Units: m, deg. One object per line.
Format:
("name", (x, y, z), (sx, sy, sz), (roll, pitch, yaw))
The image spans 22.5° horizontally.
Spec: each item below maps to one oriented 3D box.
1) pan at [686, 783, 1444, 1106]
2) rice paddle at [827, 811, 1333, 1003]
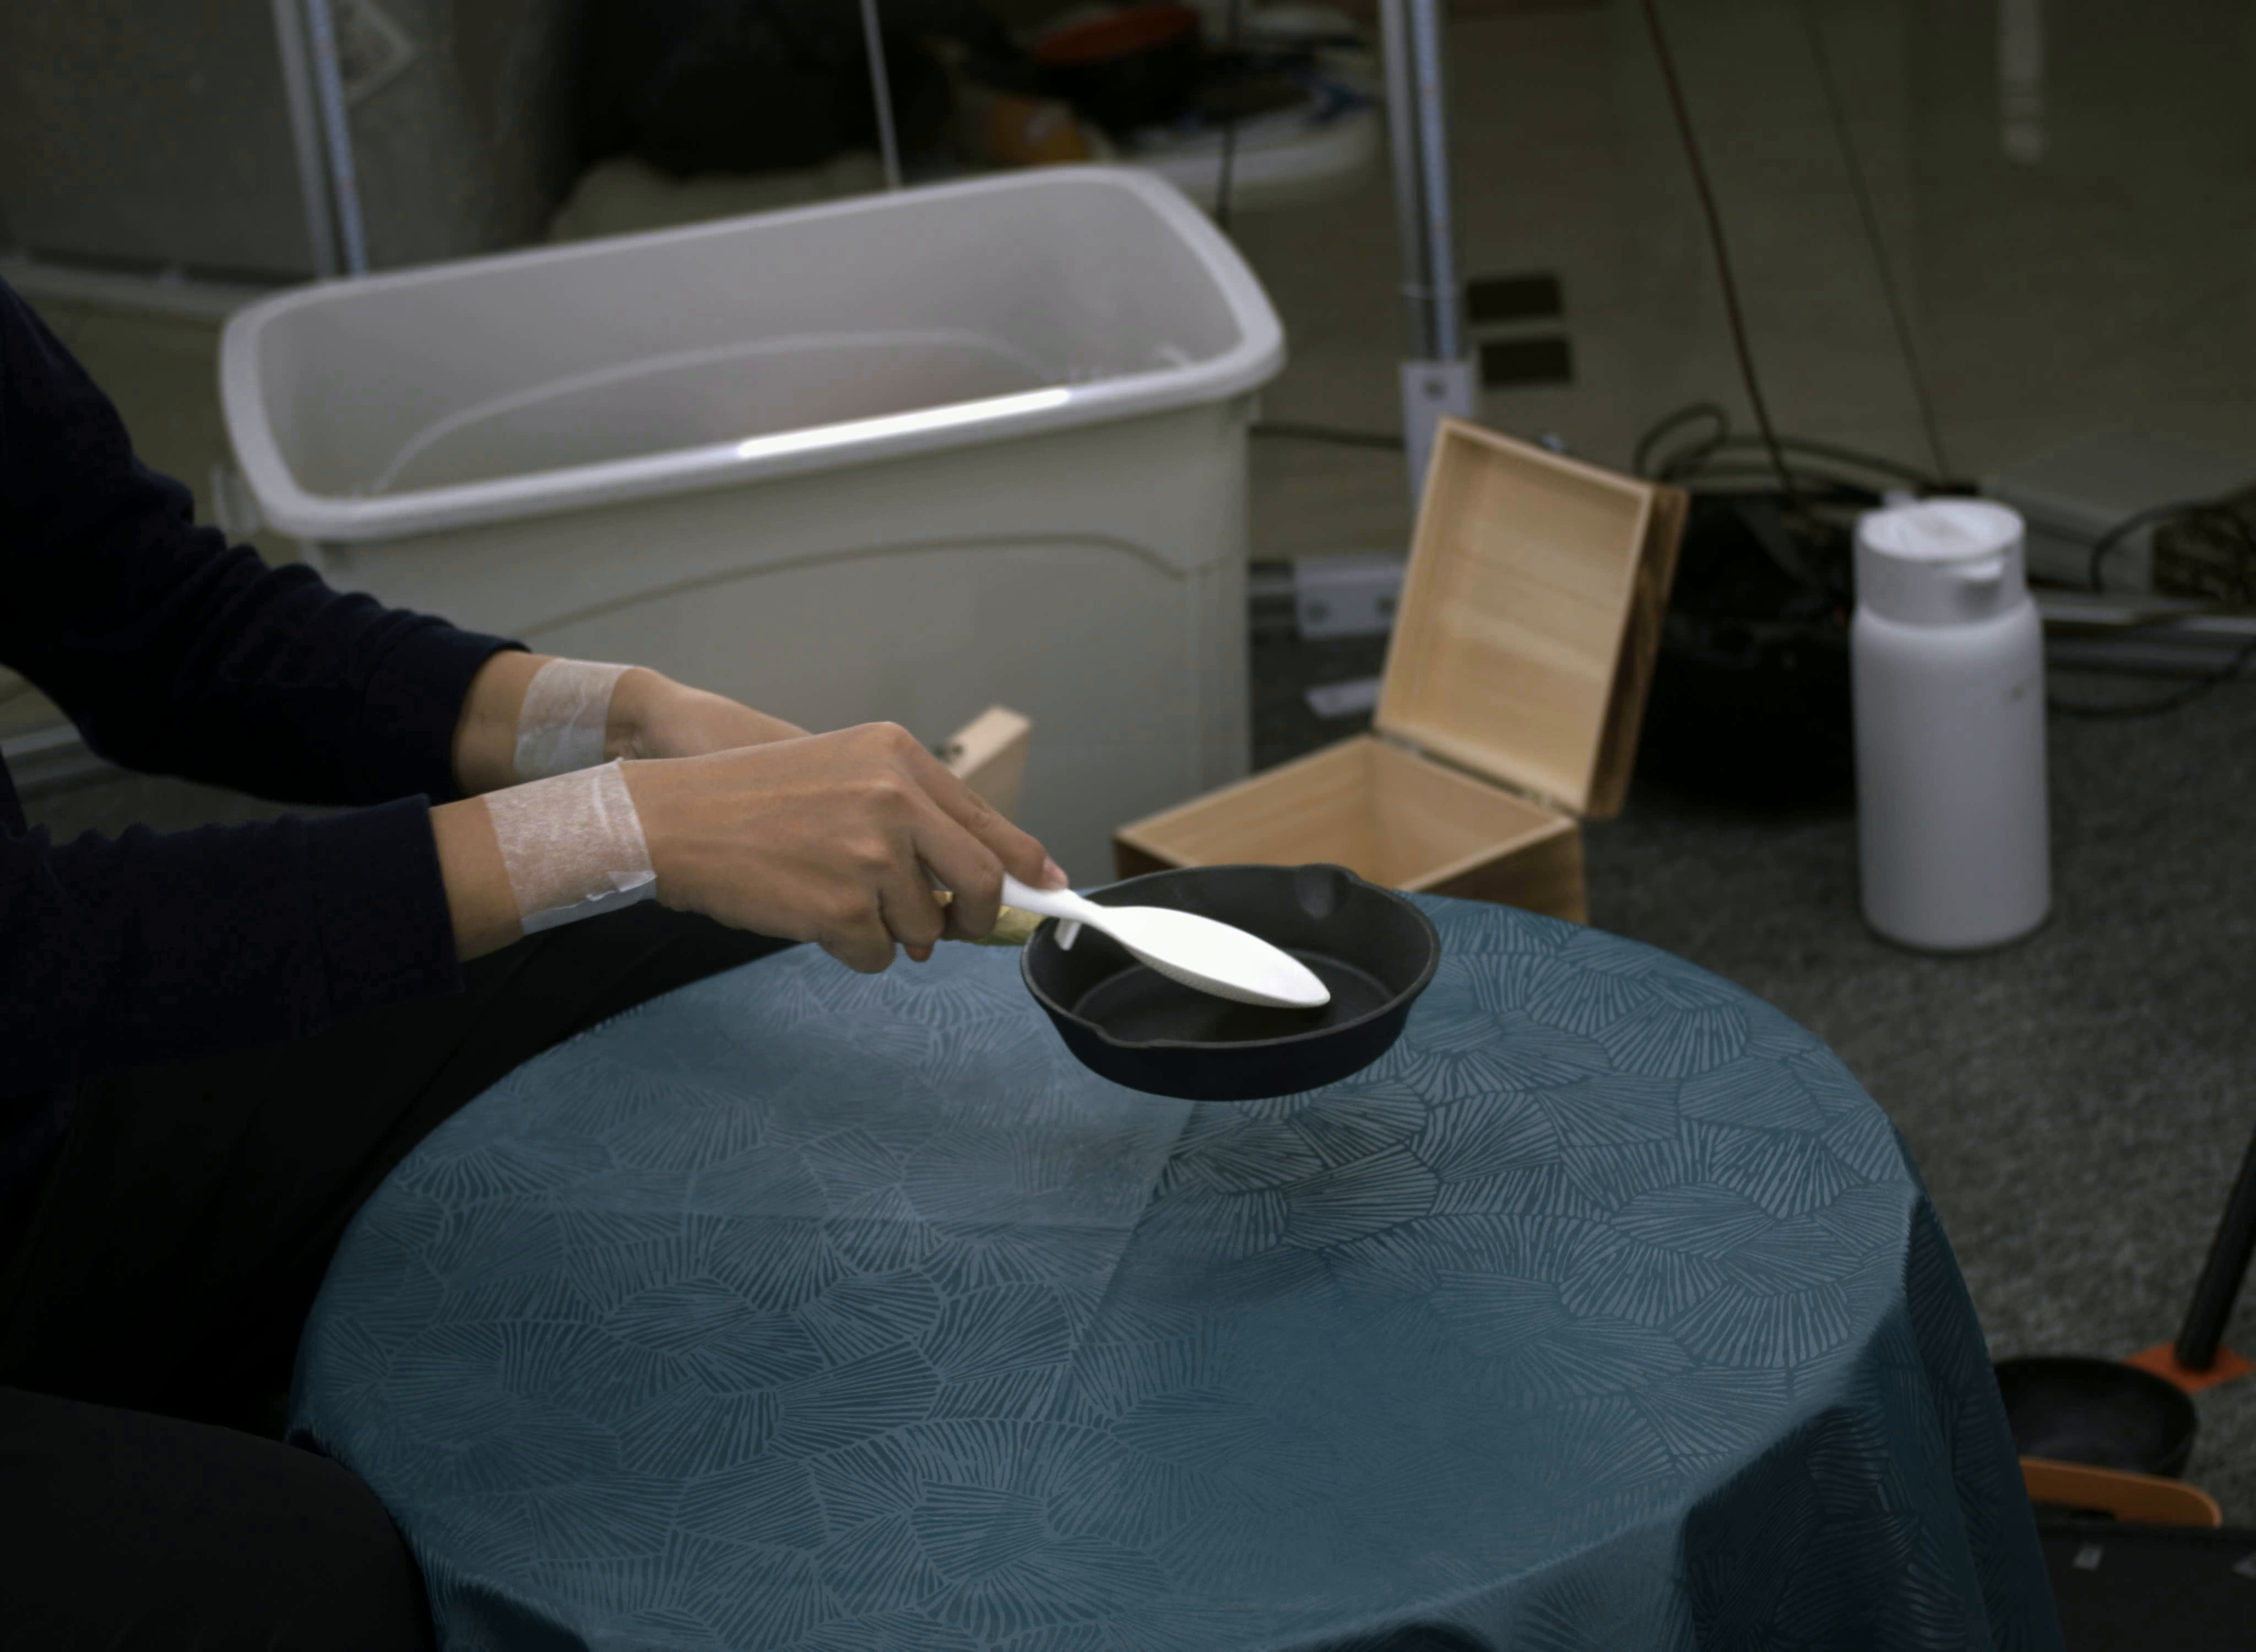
("pan", (-0.032, 0.038, 2.158), (0.322, 0.050, 0.167), (14, 30, 29))
("rice paddle", (-0.013, 0.032, 2.106), (0.206, 0.030, 0.068), (15, 19, -23))
